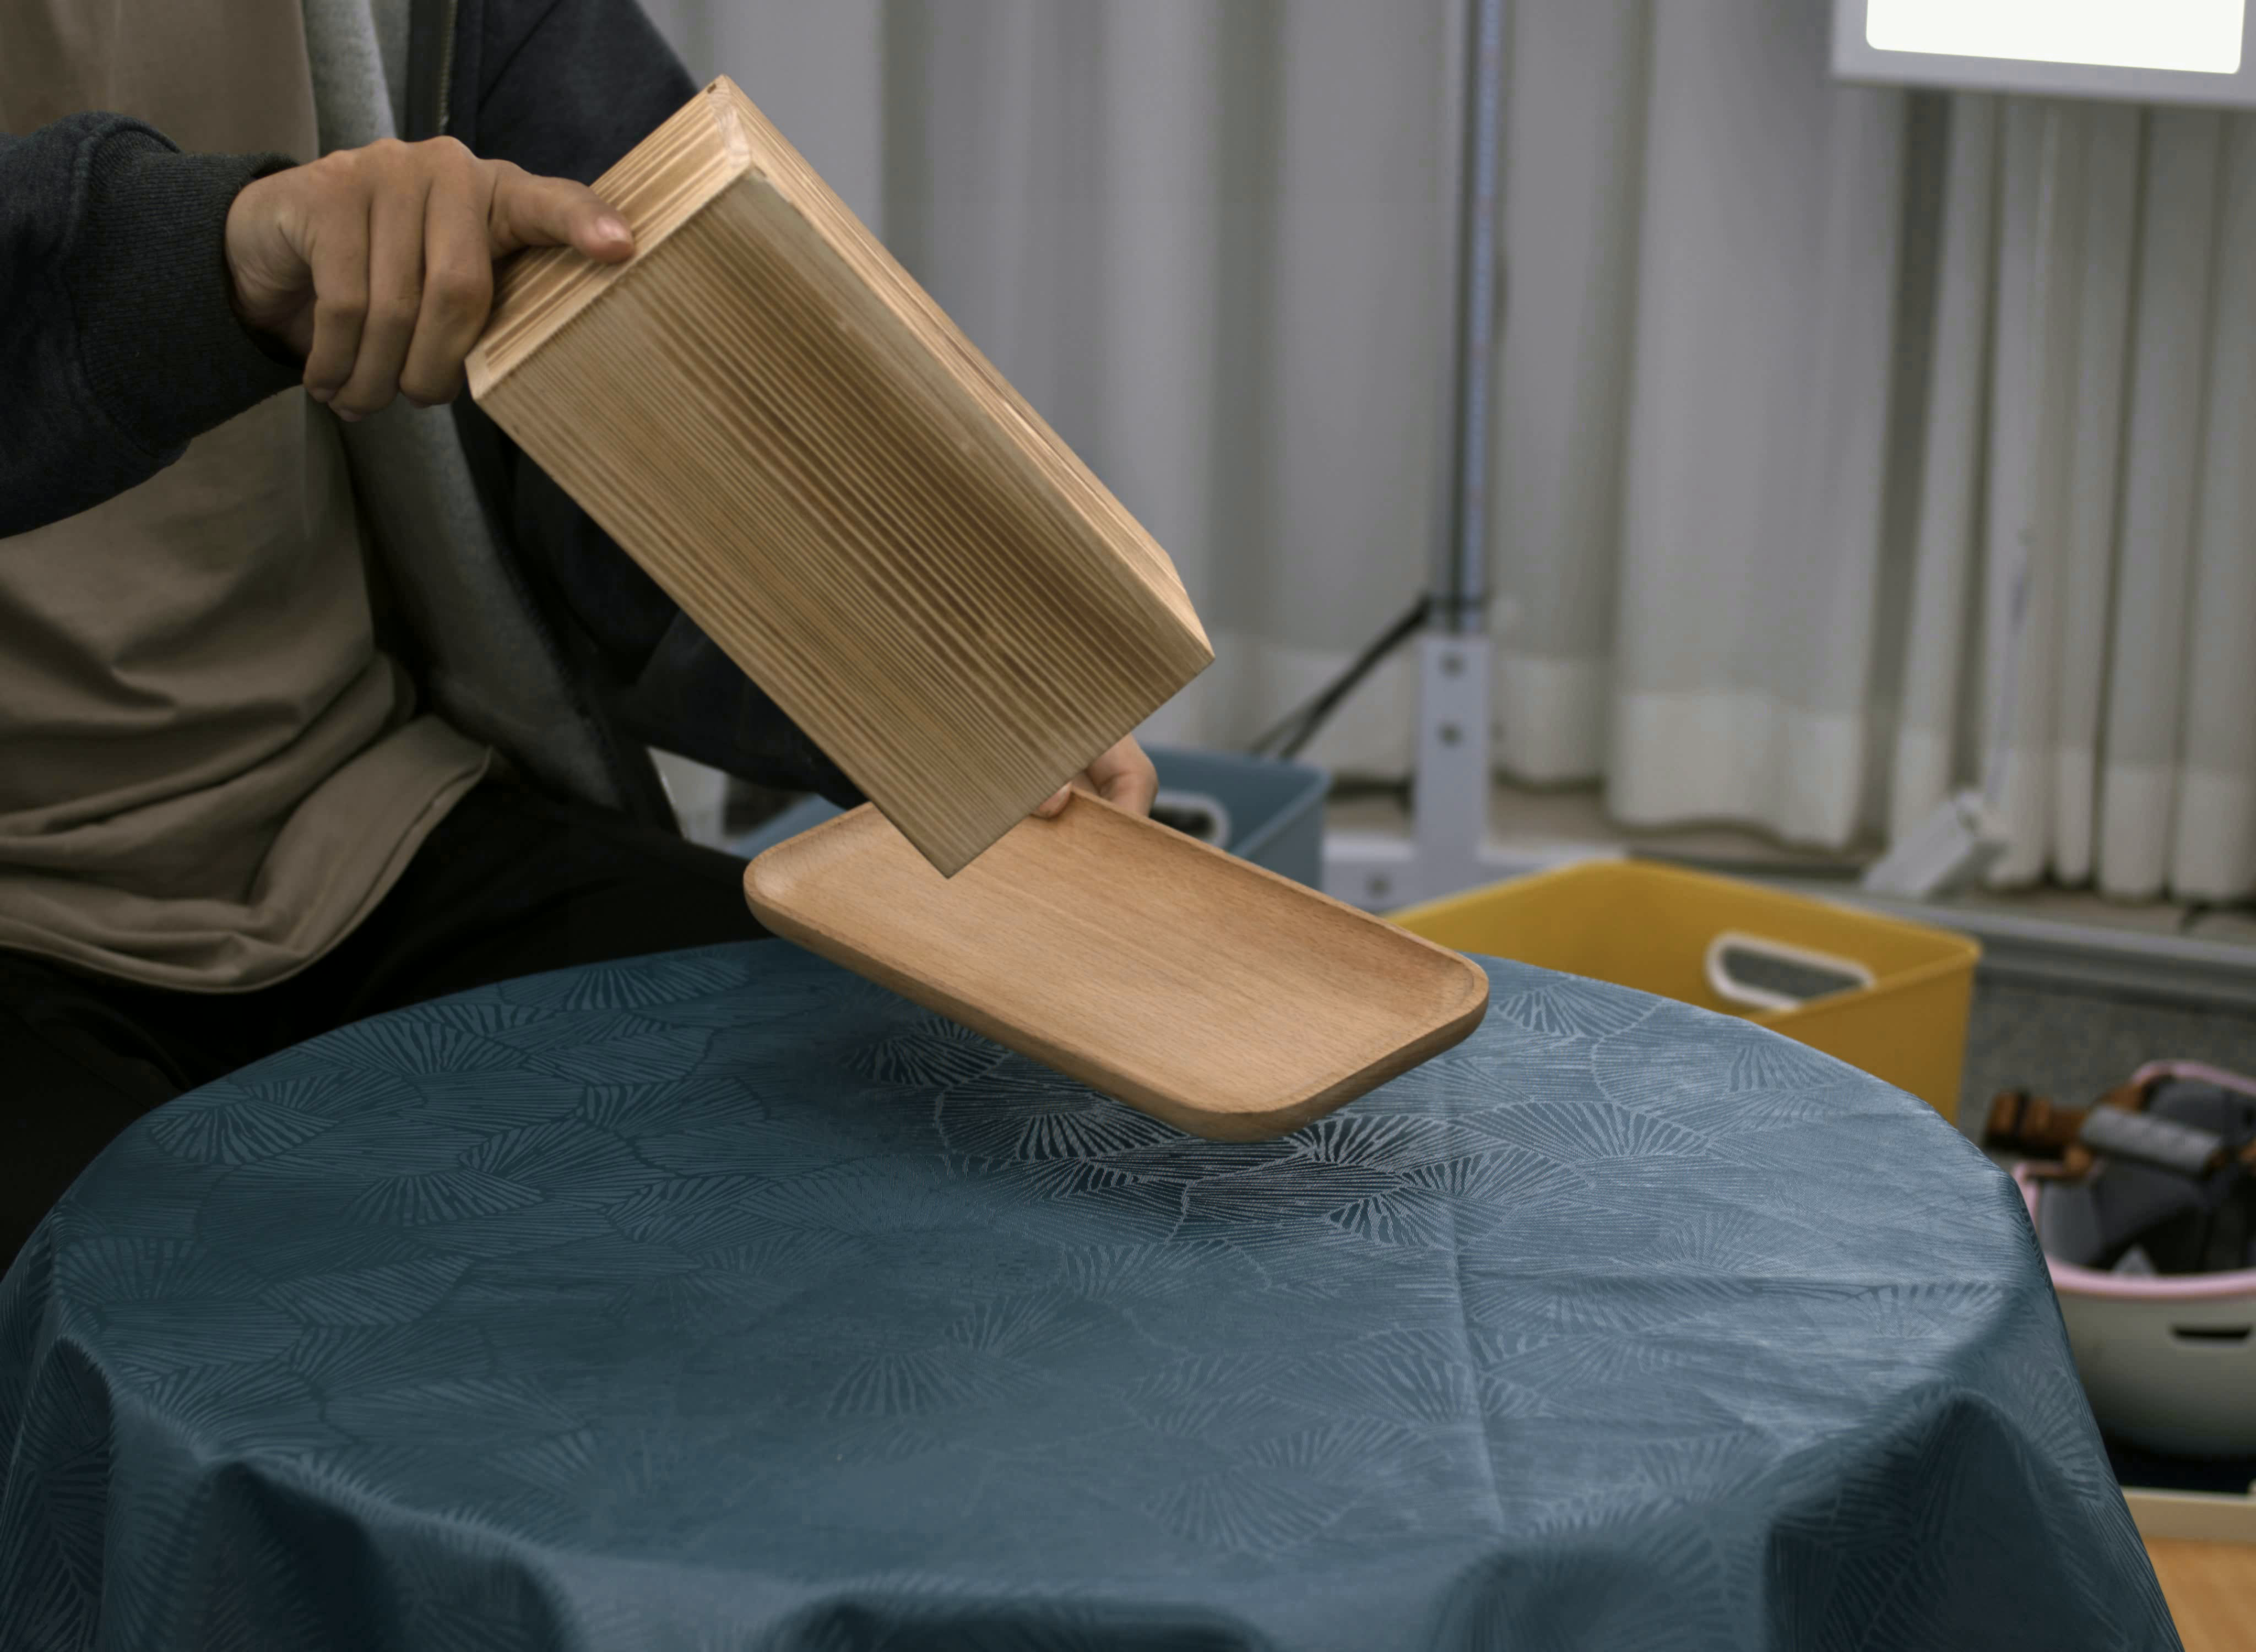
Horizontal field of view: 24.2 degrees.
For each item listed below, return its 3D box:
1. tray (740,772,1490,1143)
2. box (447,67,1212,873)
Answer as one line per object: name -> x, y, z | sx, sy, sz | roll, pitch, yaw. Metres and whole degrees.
tray -> -0.007, 0.038, 1.690 | 0.131, 0.023, 0.247 | -22, 33, -39
box -> -0.087, -0.102, 1.538 | 0.107, 0.214, 0.079 | -39, 28, 10
